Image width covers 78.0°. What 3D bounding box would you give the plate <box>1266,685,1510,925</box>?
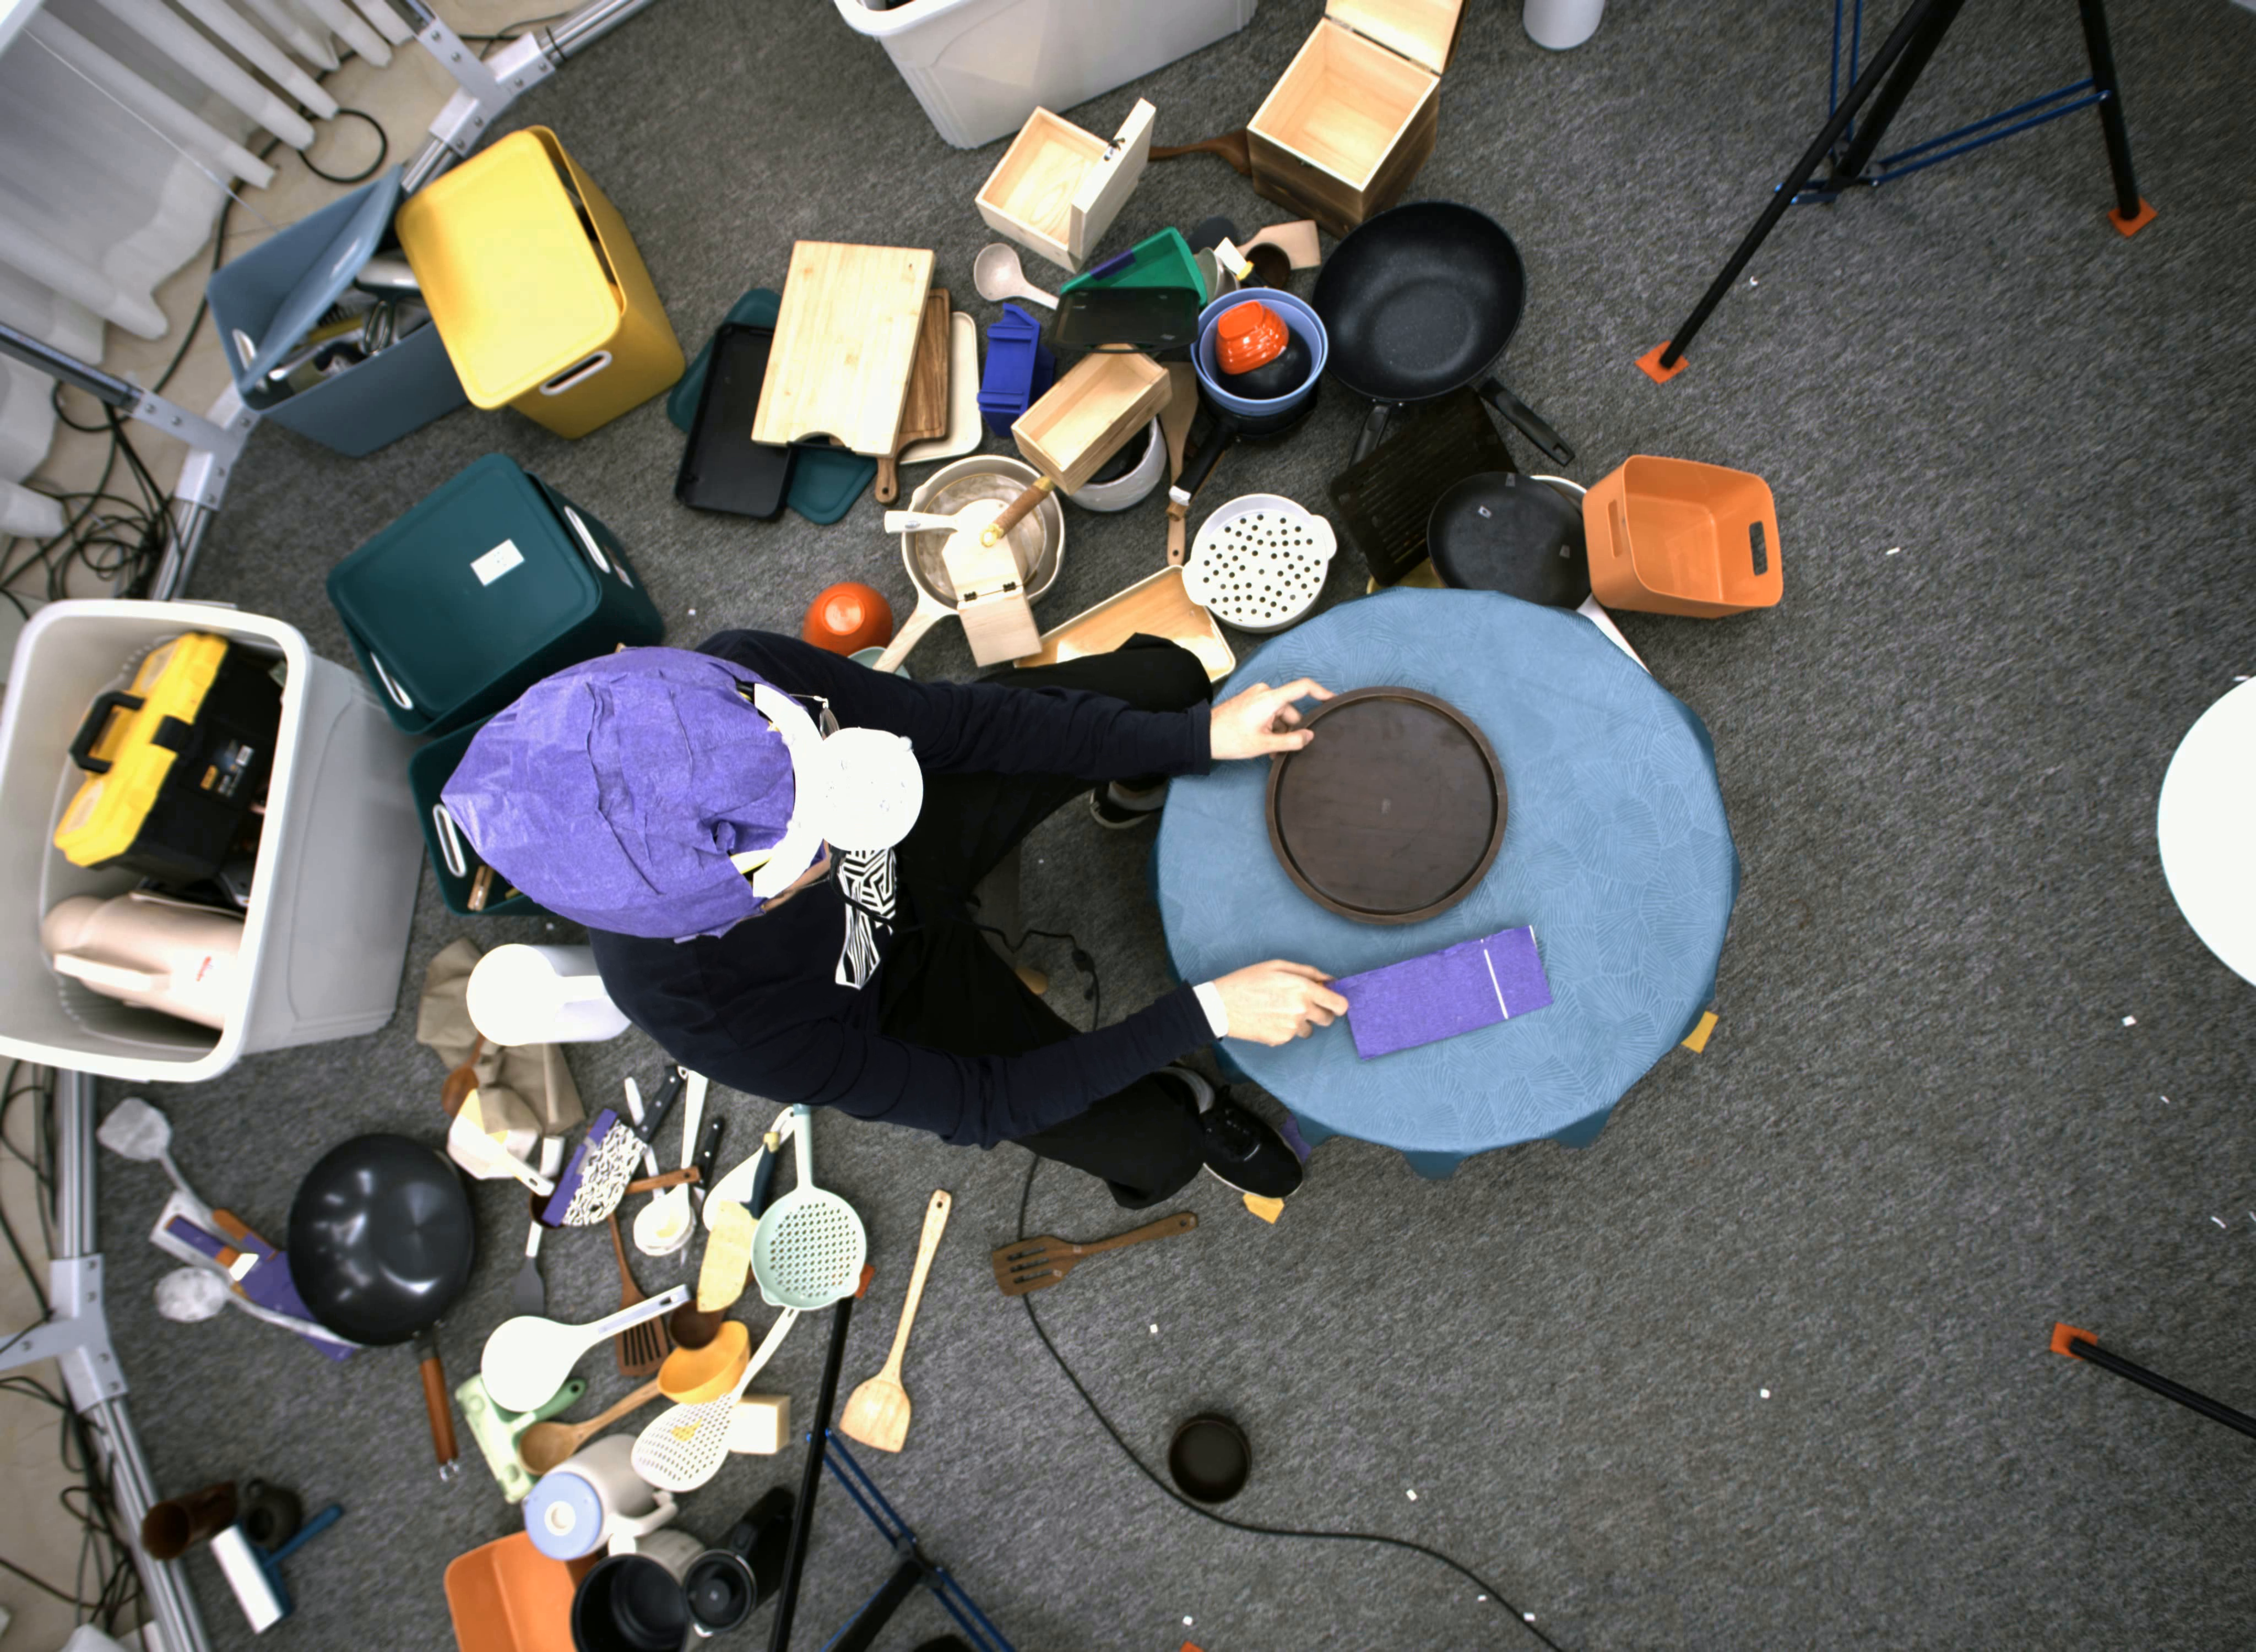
[{"bbox_3d":[0.271,-0.023,1.448,0.255,0.029,0.254,0,88,8],"label":"plate"}]

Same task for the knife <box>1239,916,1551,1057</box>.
[{"bbox_3d":[0.277,0.183,1.423,0.317,0.032,0.104,-17,99,8],"label":"knife"}]
